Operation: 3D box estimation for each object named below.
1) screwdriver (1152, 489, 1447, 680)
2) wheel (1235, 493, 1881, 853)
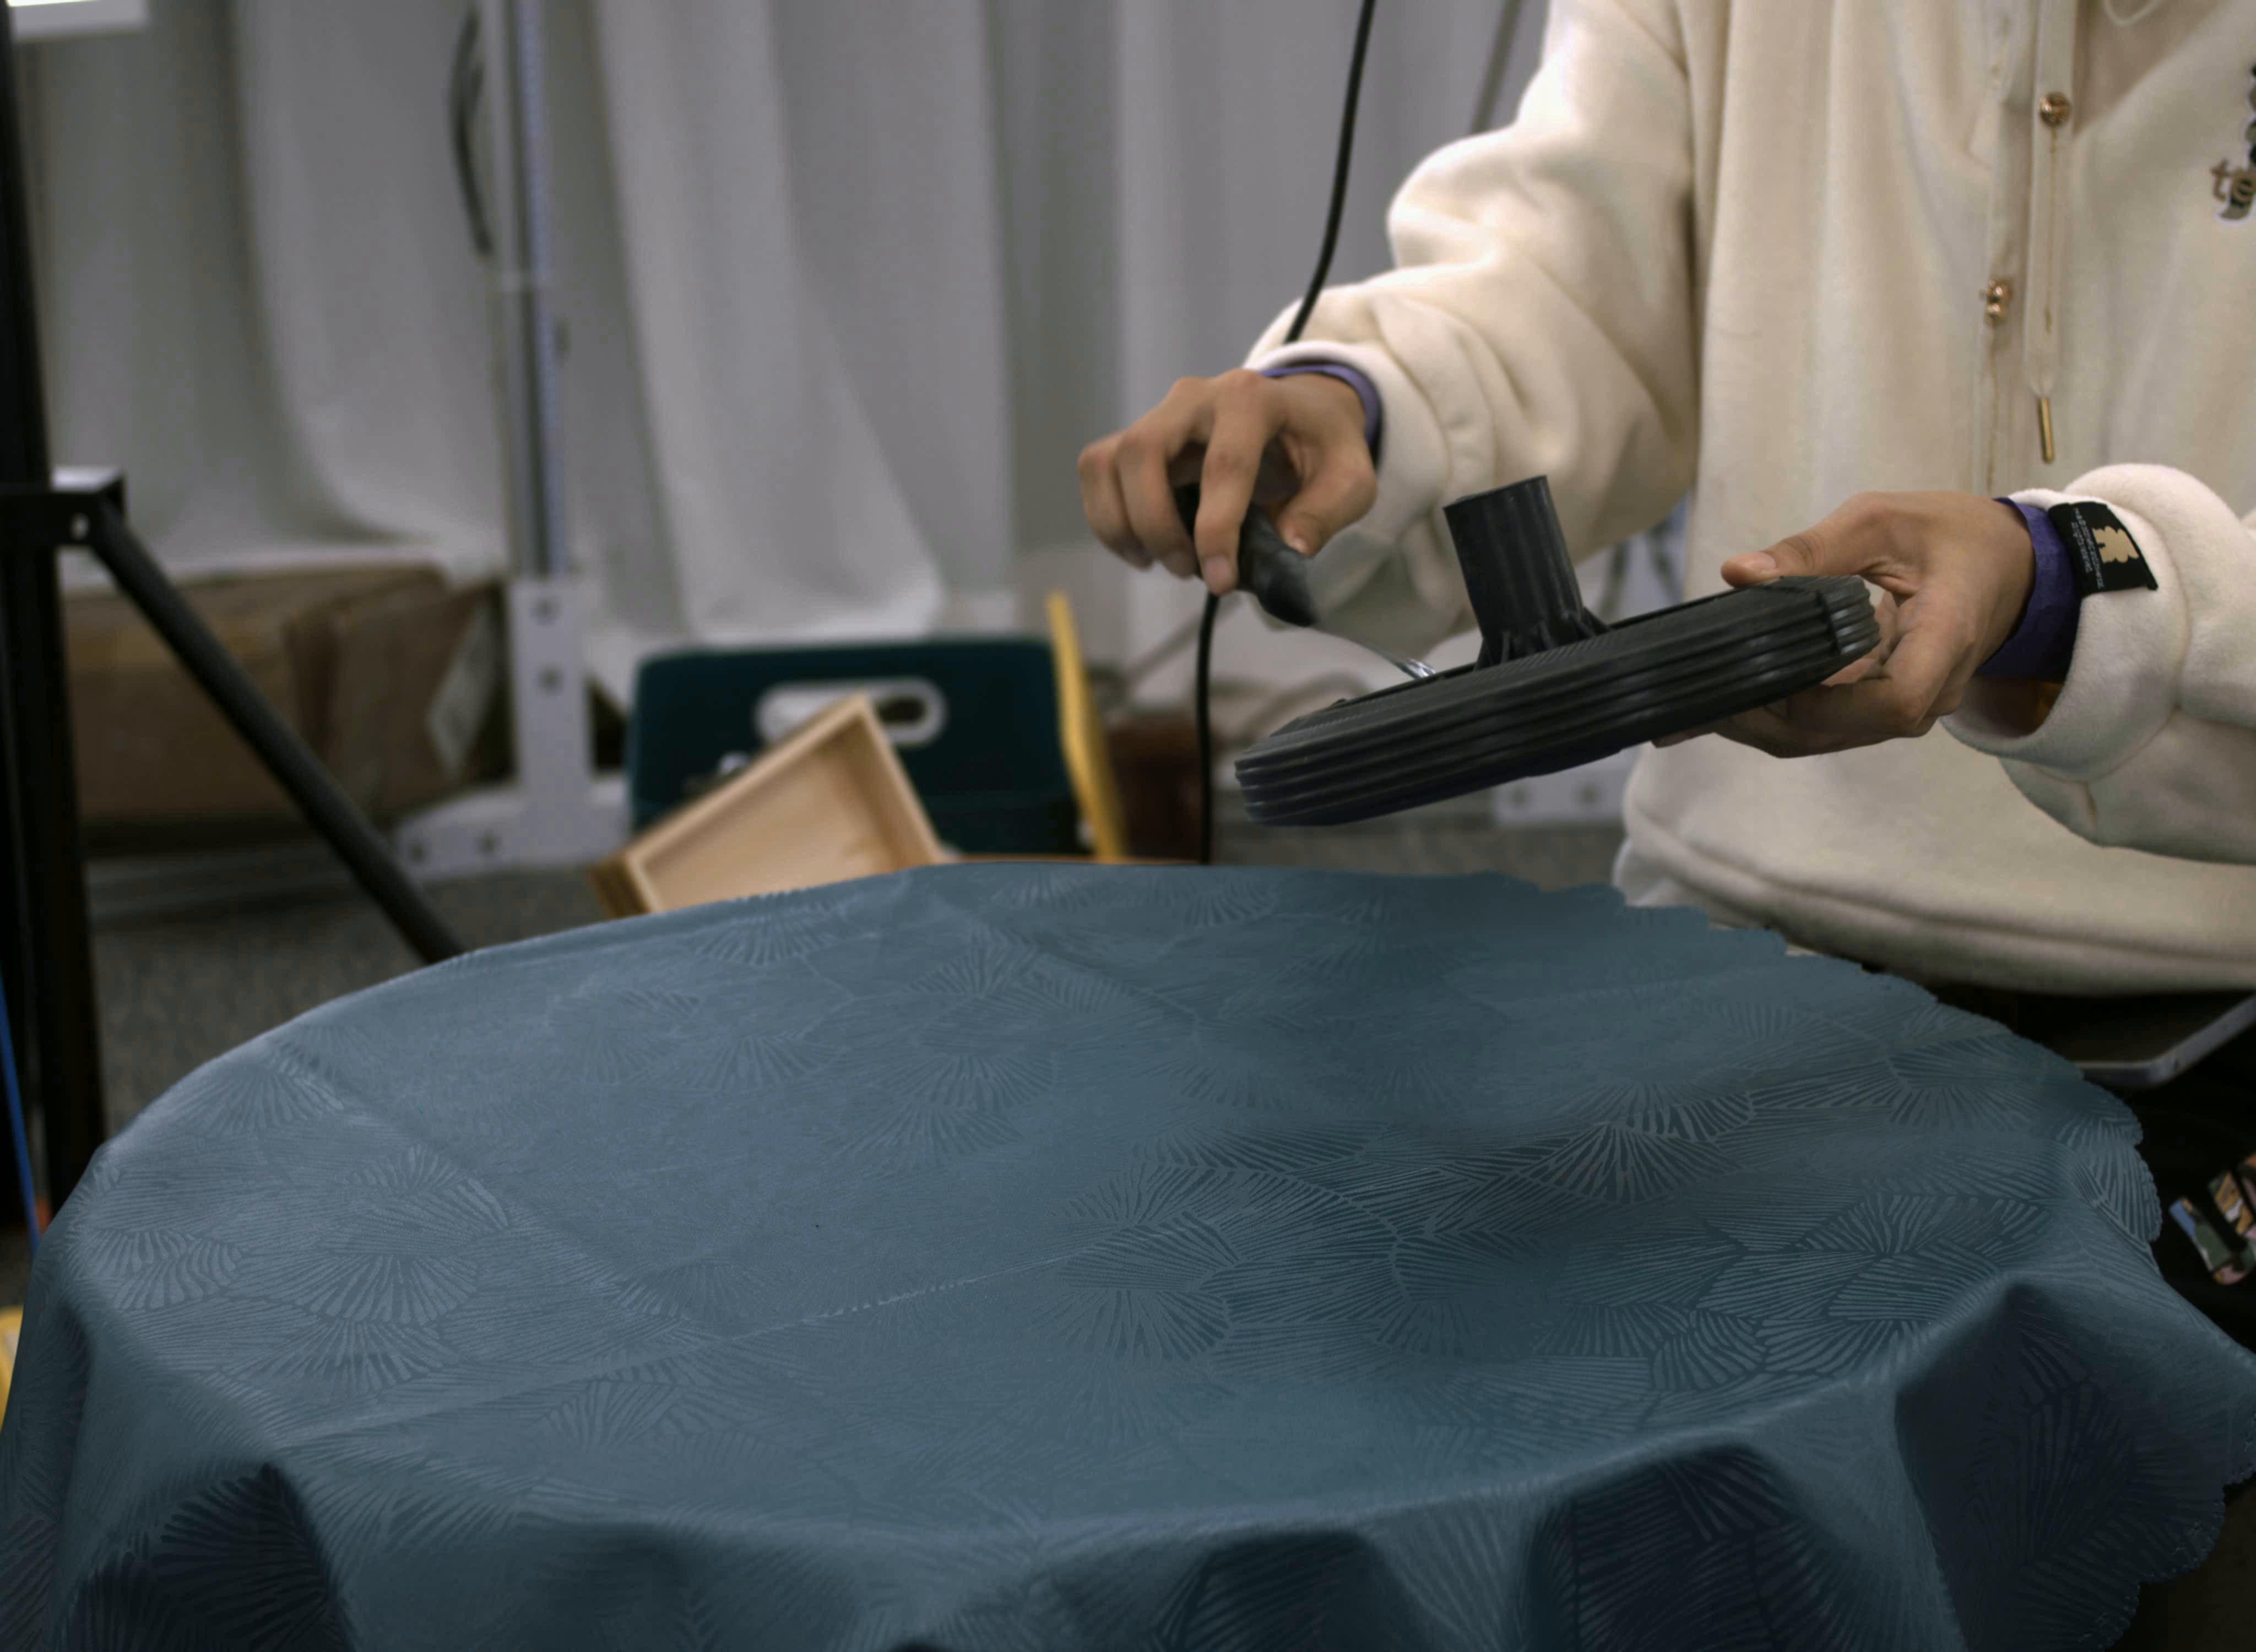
[{"bbox_3d":[0.059,-0.073,1.678,0.031,0.031,0.200,-9,21,-25],"label":"screwdriver"},{"bbox_3d":[0.115,-0.051,1.507,0.187,0.079,0.189,-20,2,-15],"label":"wheel"}]
